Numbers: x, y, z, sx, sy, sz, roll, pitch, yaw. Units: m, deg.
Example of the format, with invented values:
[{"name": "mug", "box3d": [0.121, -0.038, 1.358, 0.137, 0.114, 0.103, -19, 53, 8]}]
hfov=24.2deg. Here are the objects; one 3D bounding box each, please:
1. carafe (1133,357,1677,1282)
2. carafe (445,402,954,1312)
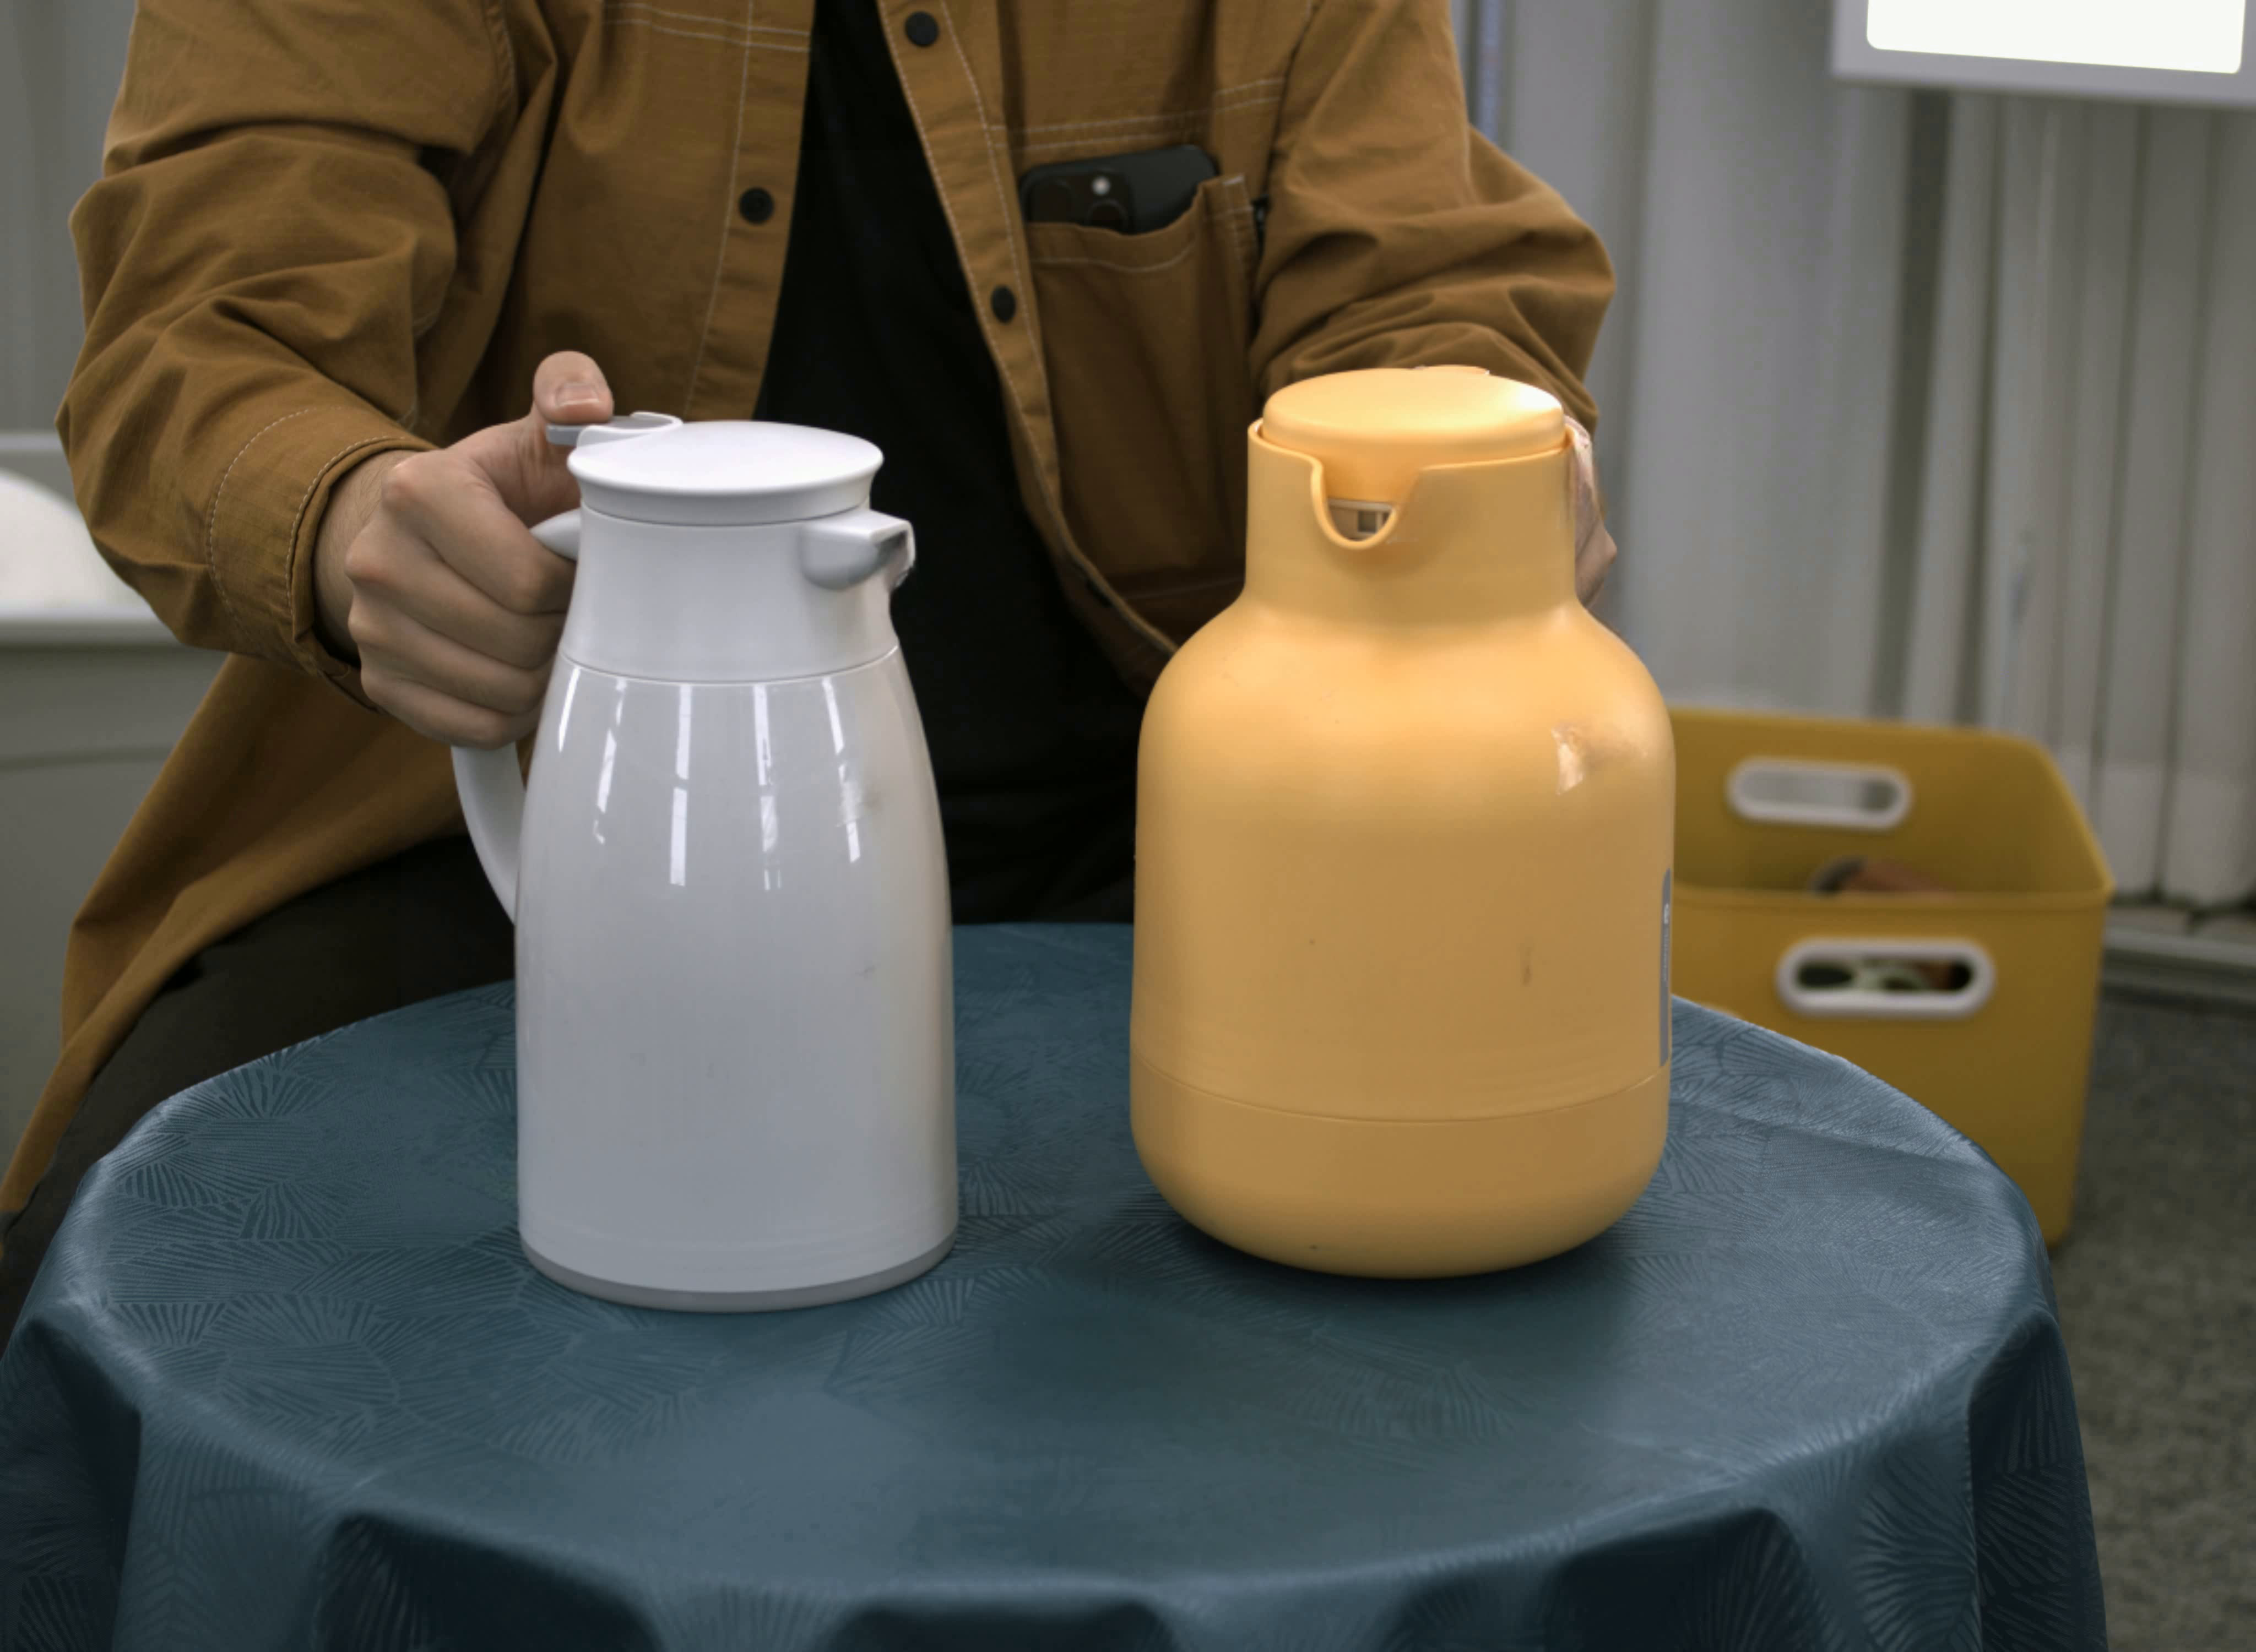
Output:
[{"name": "carafe", "box3d": [0.090, -0.010, 1.581, 0.162, 0.262, 0.202, 7, 18, 16]}, {"name": "carafe", "box3d": [-0.133, 0.001, 1.552, 0.165, 0.250, 0.133, 10, 19, 33]}]
